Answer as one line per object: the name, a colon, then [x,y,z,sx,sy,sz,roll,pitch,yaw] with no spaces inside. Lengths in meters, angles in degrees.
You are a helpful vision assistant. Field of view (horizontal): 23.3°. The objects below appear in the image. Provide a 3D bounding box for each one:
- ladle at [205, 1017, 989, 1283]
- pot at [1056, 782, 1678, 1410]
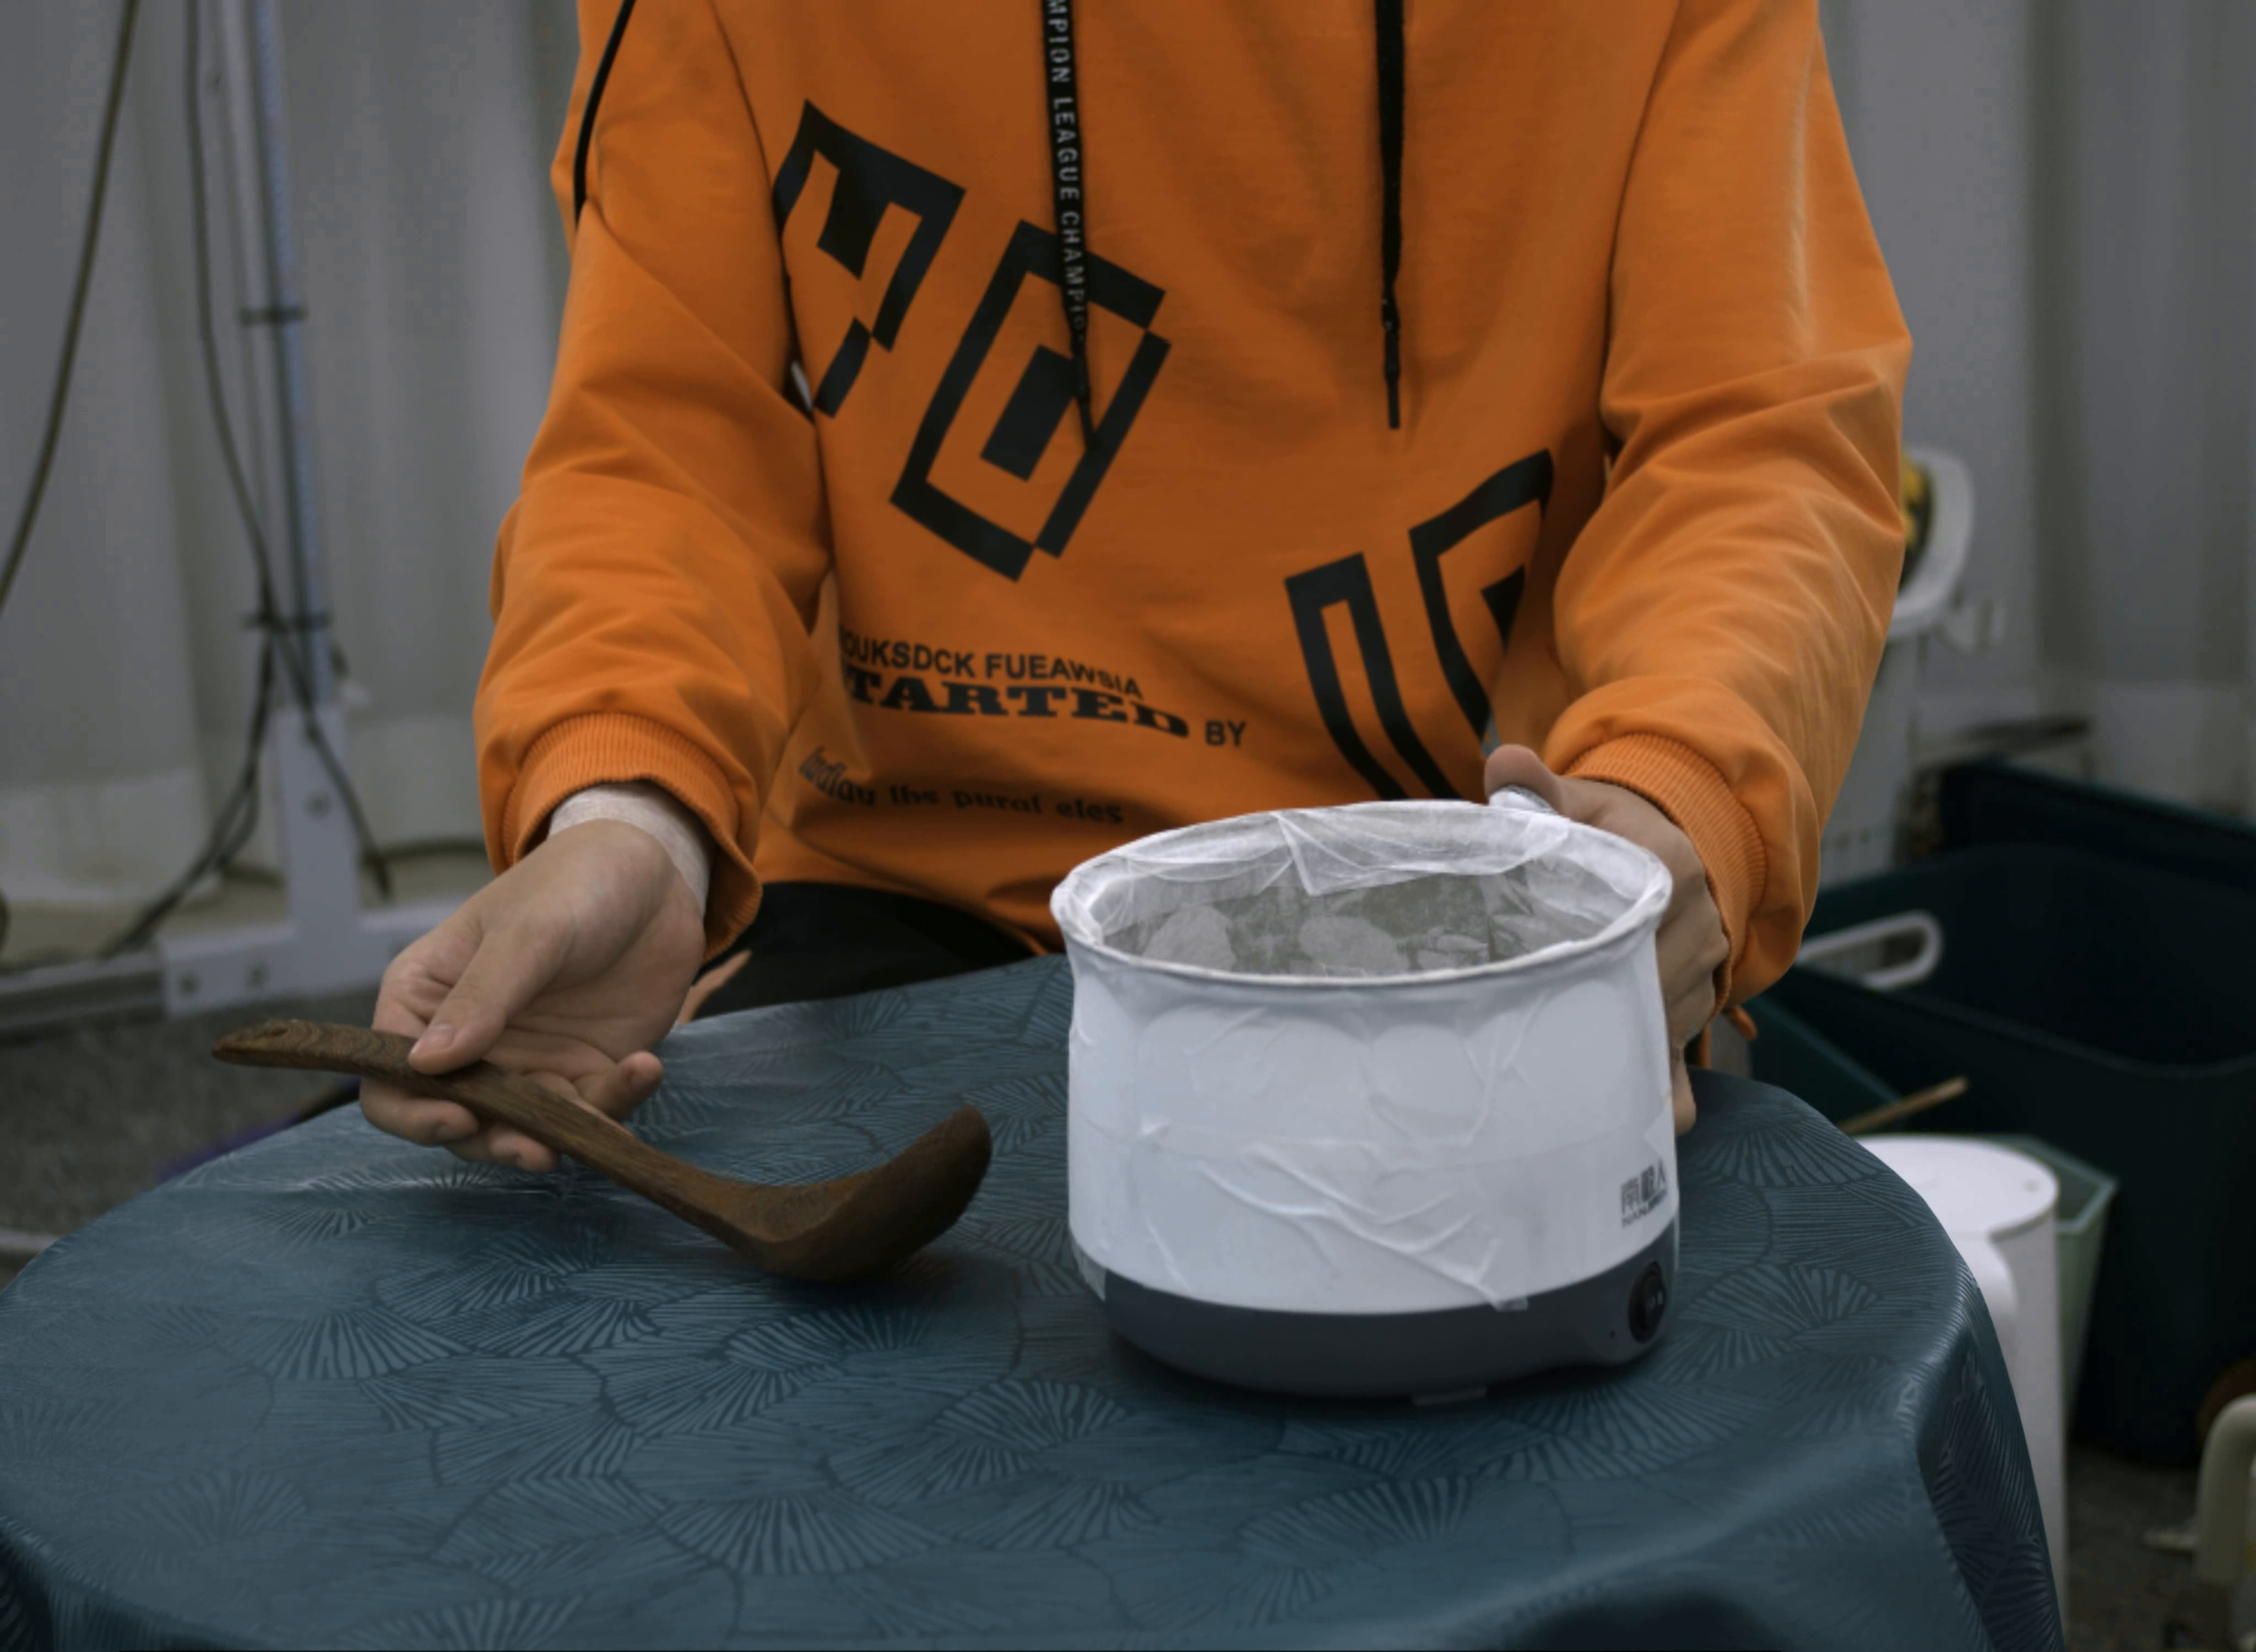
ladle: [-0.167,0.078,1.684,0.275,0.071,0.076,19,22,25]
pot: [0.082,0.071,1.594,0.179,0.136,0.234,6,18,28]
